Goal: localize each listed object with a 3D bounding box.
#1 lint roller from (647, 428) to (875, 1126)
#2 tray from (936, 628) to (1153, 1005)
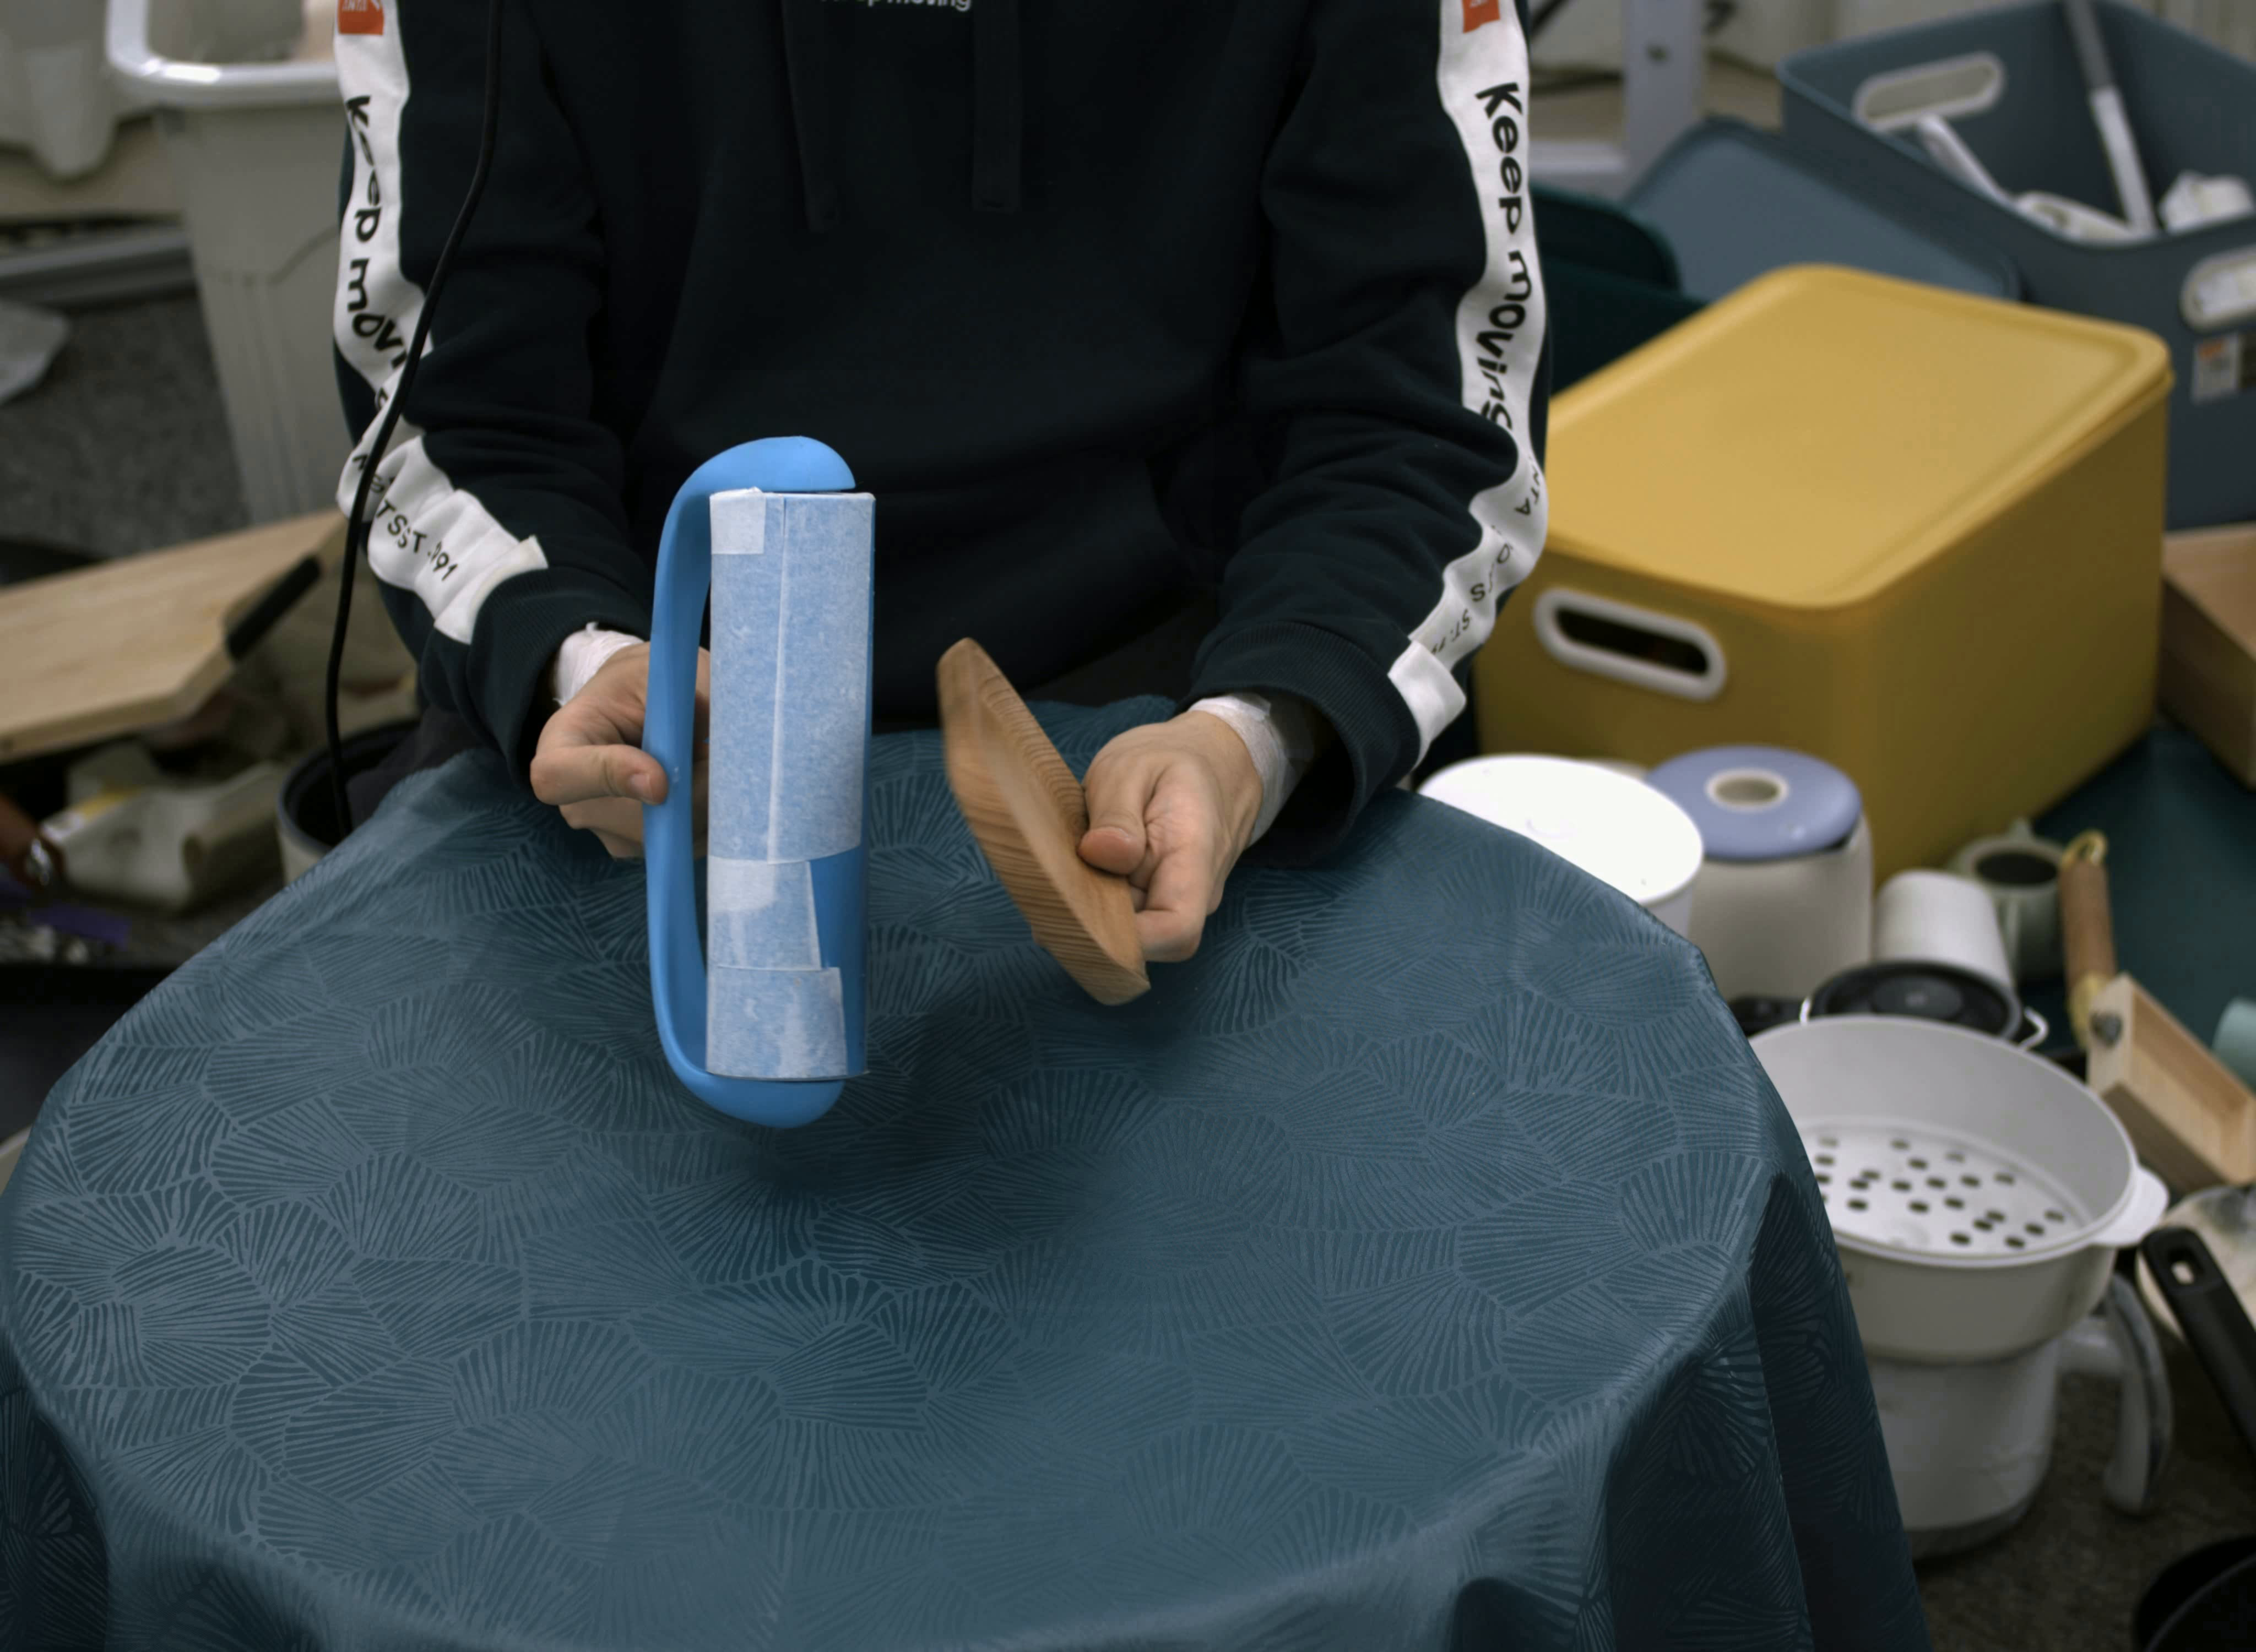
[{"bbox_3d":[-0.133,-0.016,1.907,0.068,0.230,0.179,0,0,-21],"label":"lint roller"},{"bbox_3d":[-0.030,-0.004,1.876,0.020,0.101,0.233,-31,16,3],"label":"tray"}]
